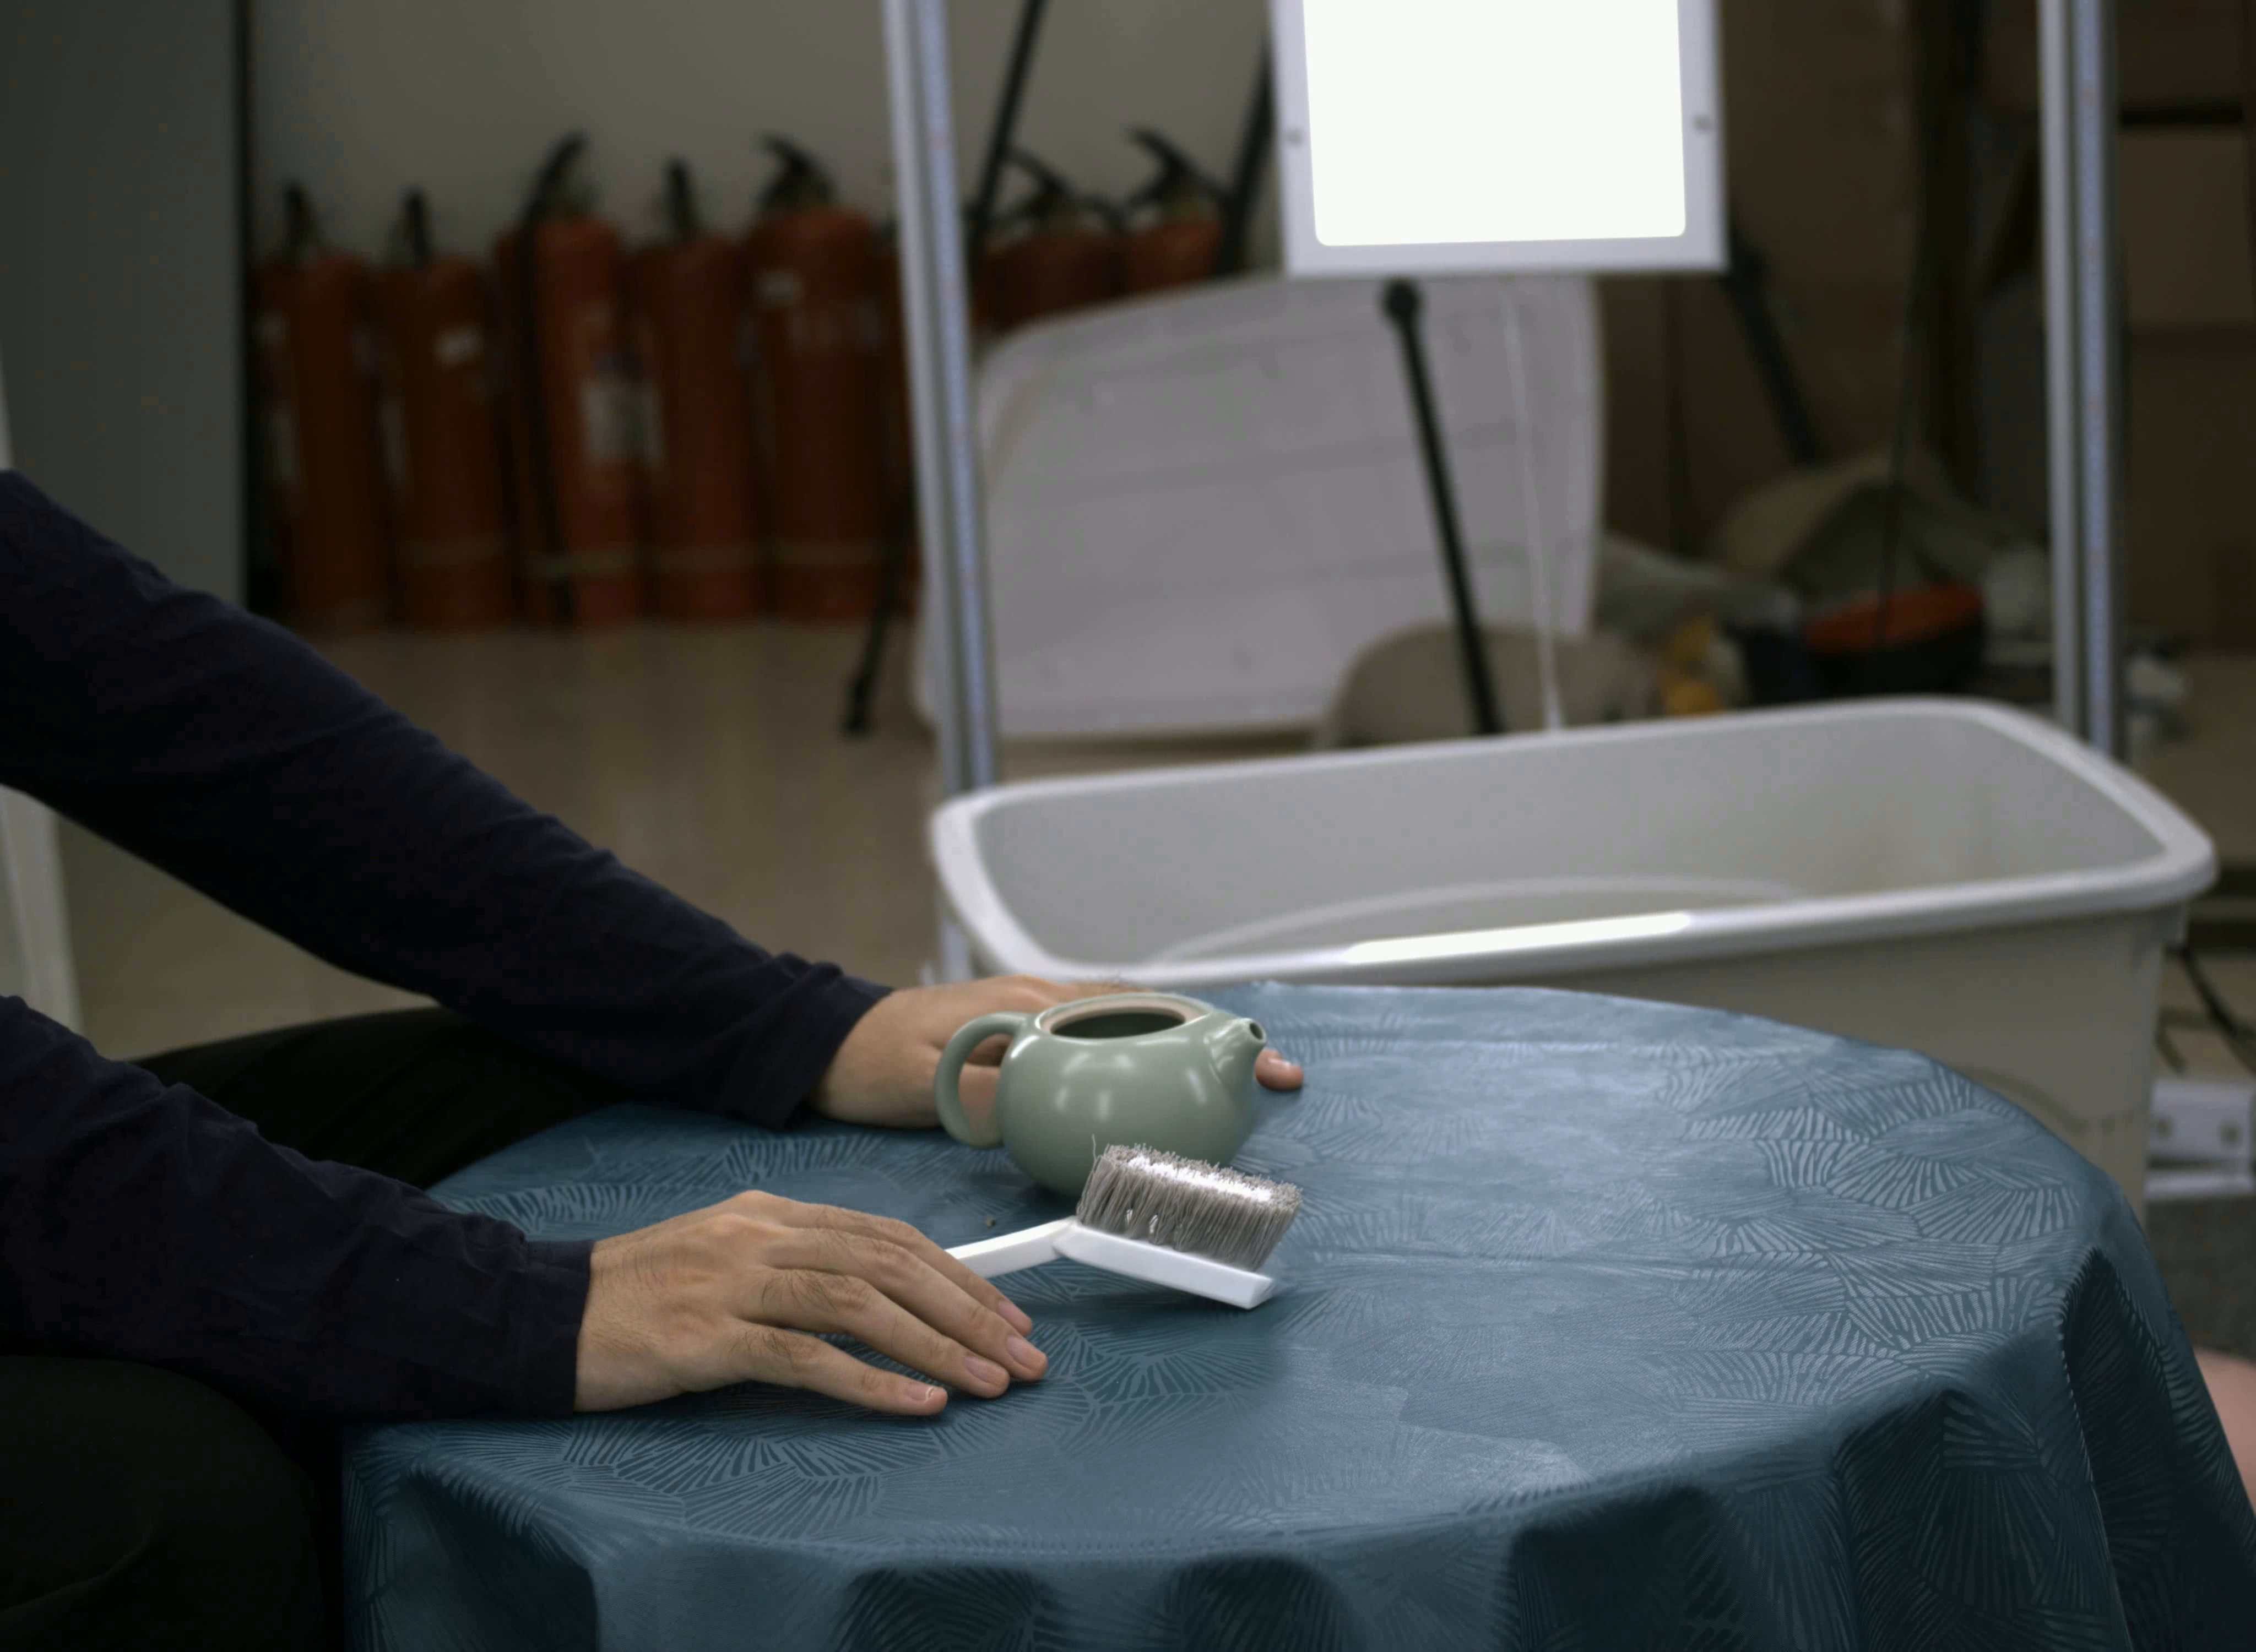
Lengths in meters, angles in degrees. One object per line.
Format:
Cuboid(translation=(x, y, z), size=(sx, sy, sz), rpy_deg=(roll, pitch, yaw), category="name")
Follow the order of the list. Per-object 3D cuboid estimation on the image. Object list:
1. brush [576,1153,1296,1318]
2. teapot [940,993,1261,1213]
Cuboid(translation=(-0.065, 0.133, 1.796), size=(0.246, 0.050, 0.034), rpy_deg=(-1, 18, 15), category="brush")
Cuboid(translation=(-0.009, 0.096, 1.909), size=(0.131, 0.061, 0.089), rpy_deg=(3, 21, 31), category="teapot")
